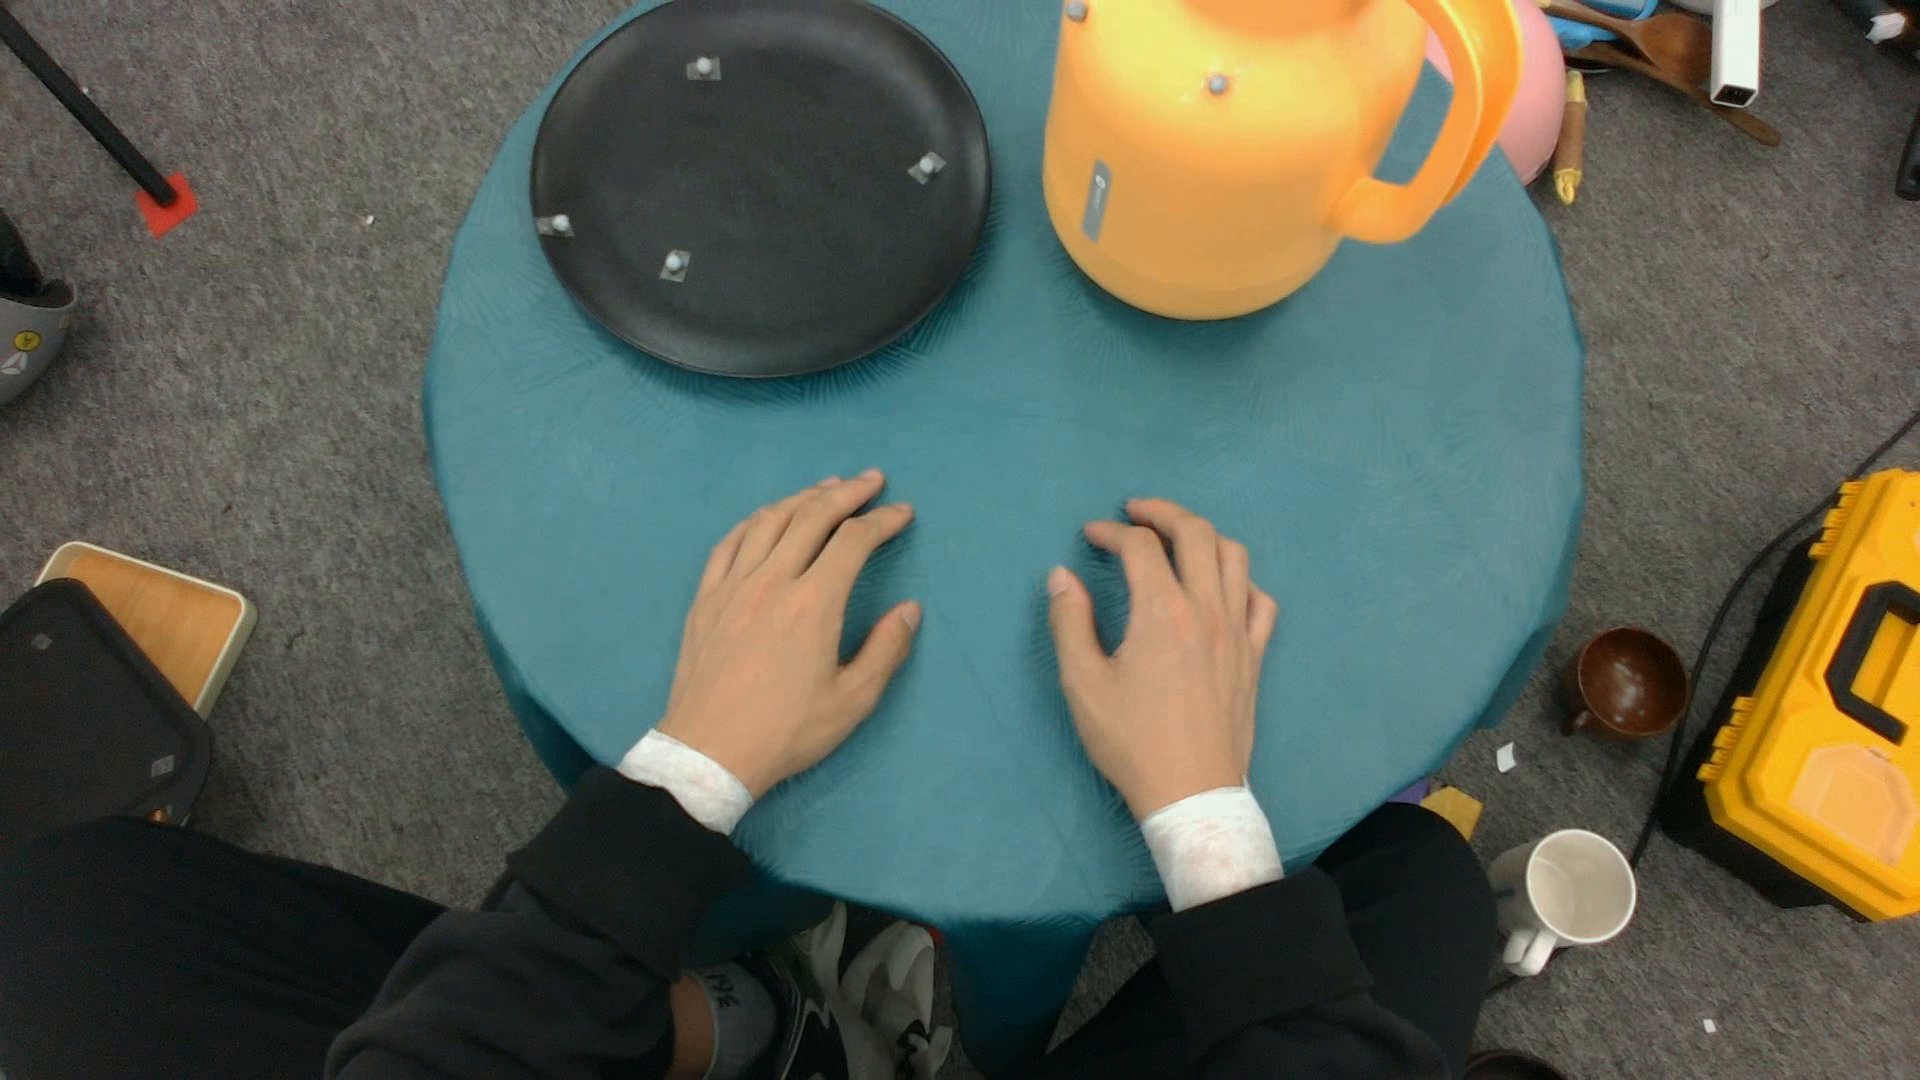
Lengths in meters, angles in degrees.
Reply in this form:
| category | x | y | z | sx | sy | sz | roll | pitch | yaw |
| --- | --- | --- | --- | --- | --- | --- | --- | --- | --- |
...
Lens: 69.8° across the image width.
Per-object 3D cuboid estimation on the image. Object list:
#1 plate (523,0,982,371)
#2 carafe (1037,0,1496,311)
| category | x | y | z | sx | sy | sz | roll | pitch | yaw |
| --- | --- | --- | --- | --- | --- | --- | --- | --- | --- |
| plate | -0.110 | -0.196 | 0.742 | 0.244 | 0.023 | 0.245 | 0 | 69 | -1 |
| carafe | 0.132 | -0.214 | 0.629 | 0.164 | 0.259 | 0.202 | -40 | 74 | -12 |
